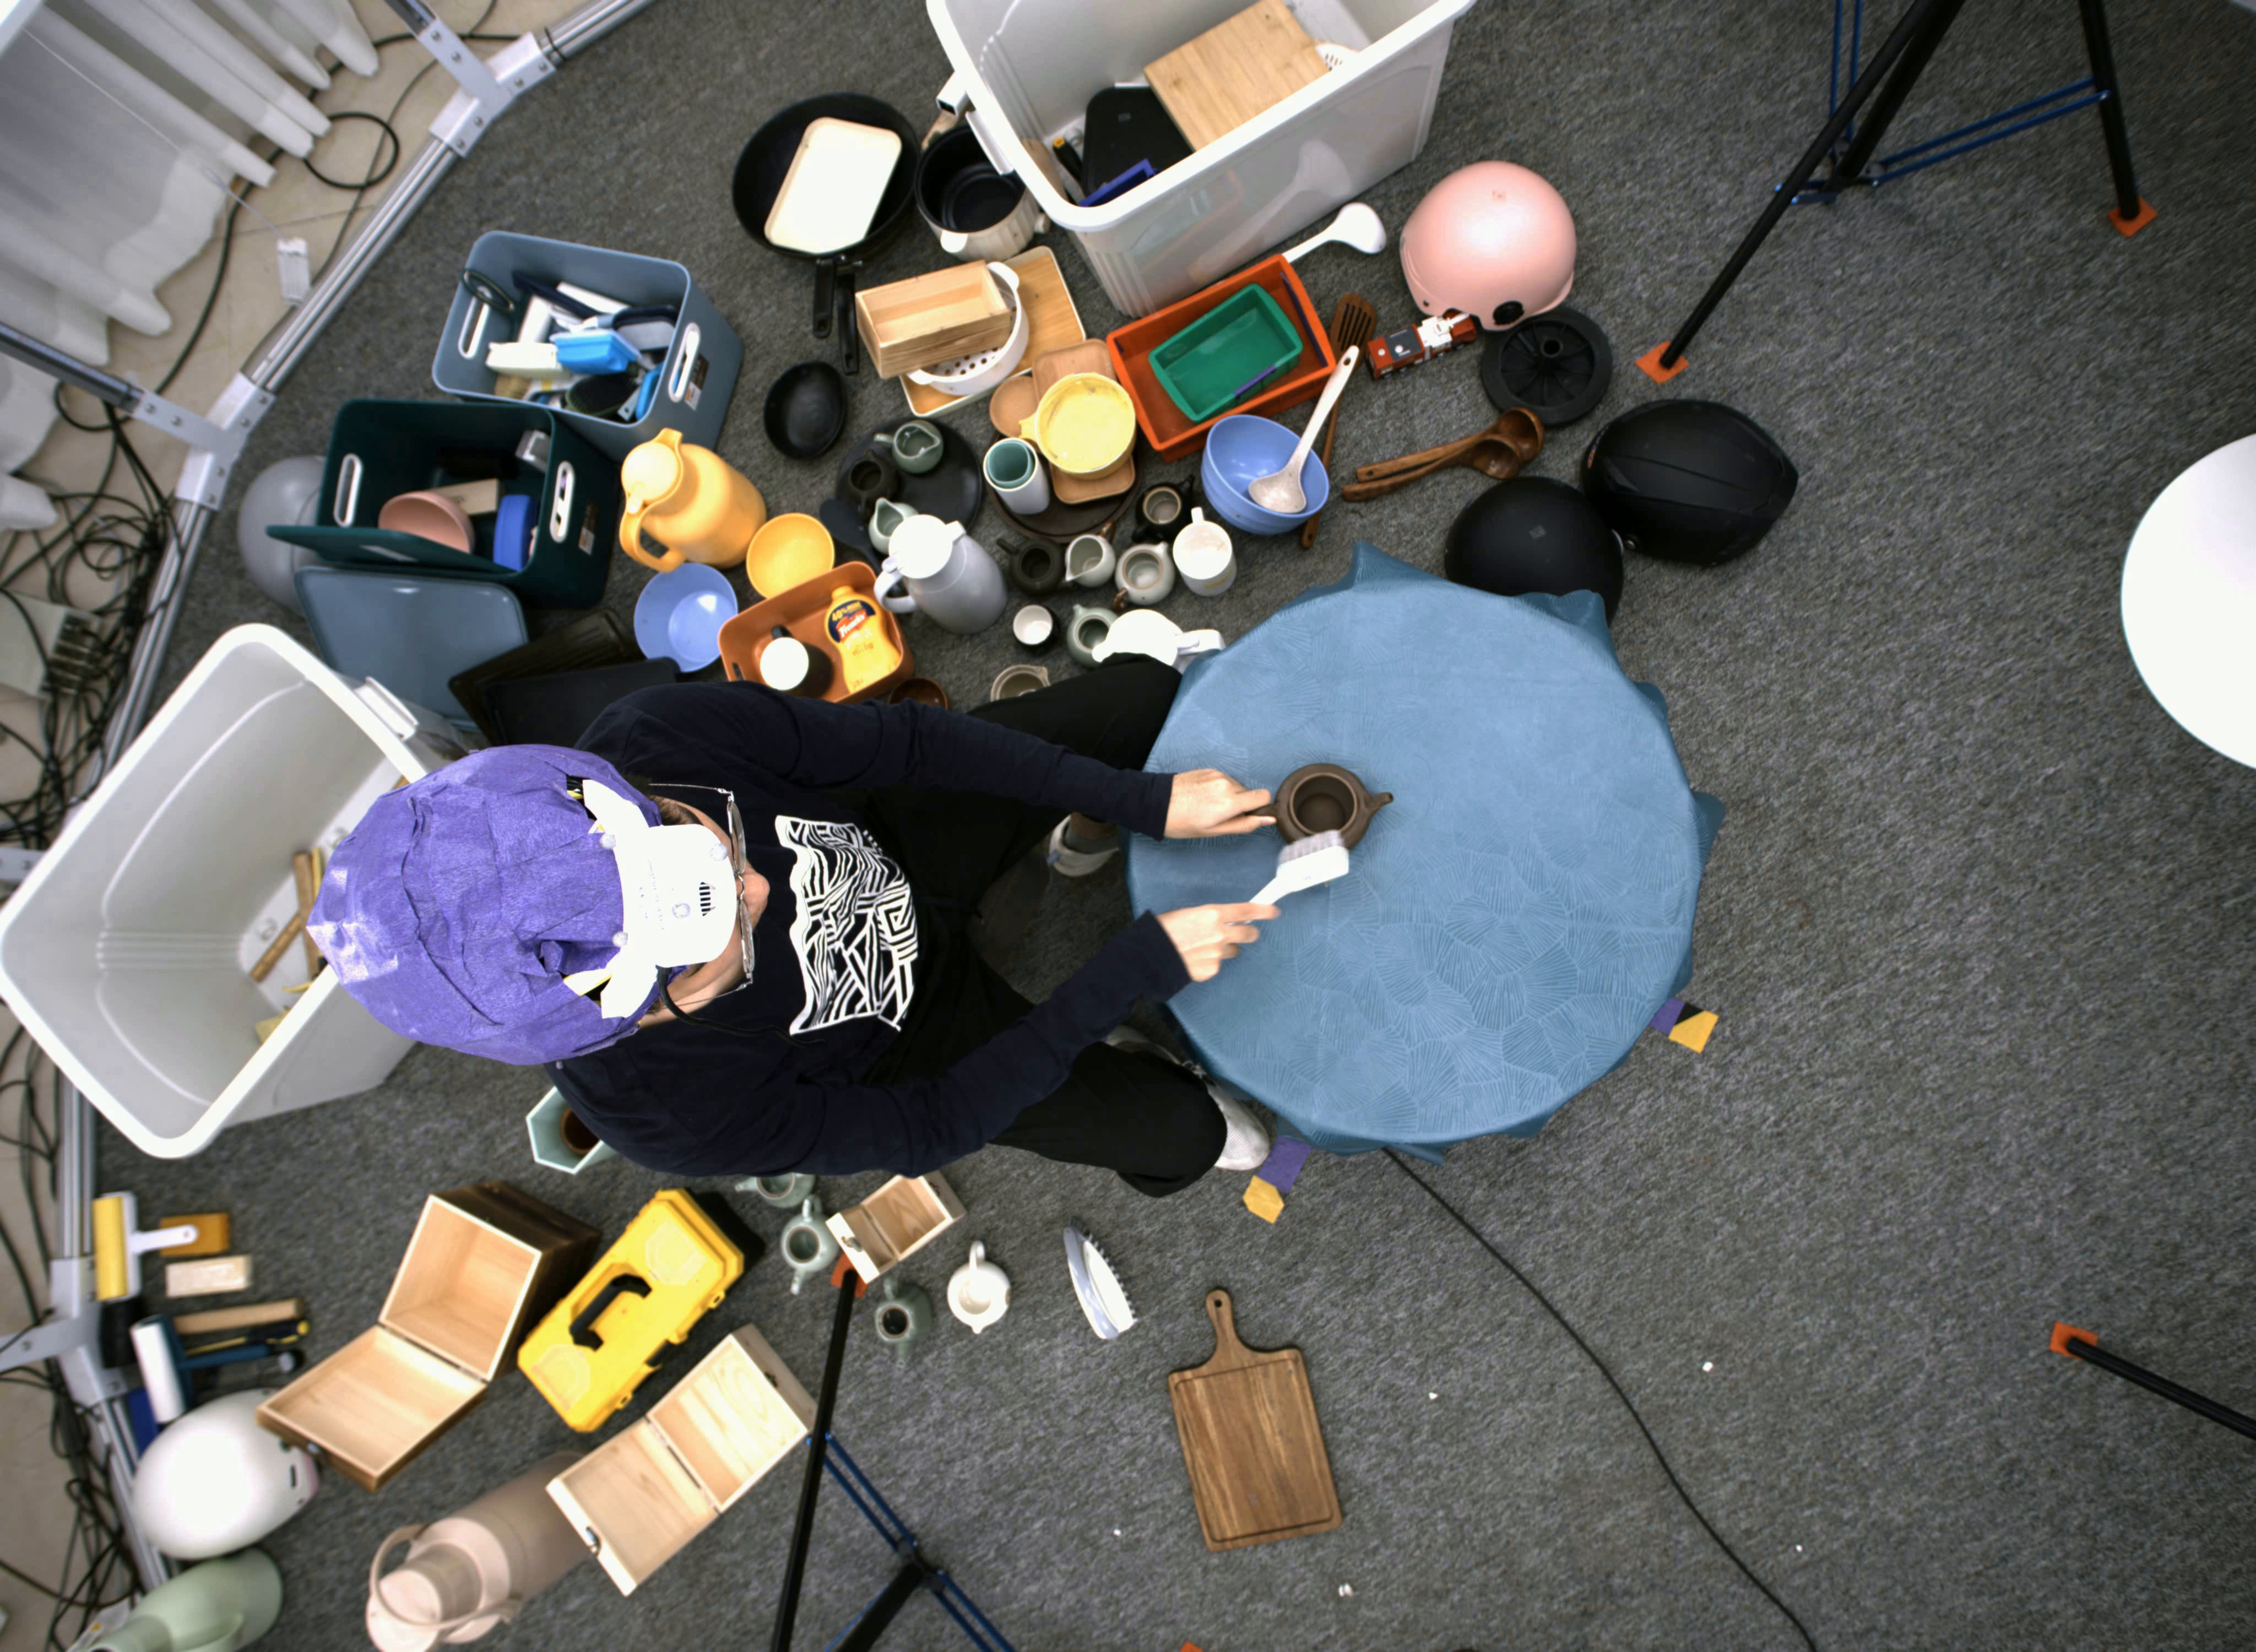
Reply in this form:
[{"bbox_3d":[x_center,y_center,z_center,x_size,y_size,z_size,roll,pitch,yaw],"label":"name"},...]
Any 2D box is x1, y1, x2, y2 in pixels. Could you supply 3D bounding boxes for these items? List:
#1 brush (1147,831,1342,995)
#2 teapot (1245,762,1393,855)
[{"bbox_3d":[0.113,0.085,1.406,0.244,0.035,0.049,-35,46,2],"label":"brush"},{"bbox_3d":[0.198,-0.018,1.444,0.154,0.054,0.101,-11,76,2],"label":"teapot"}]
